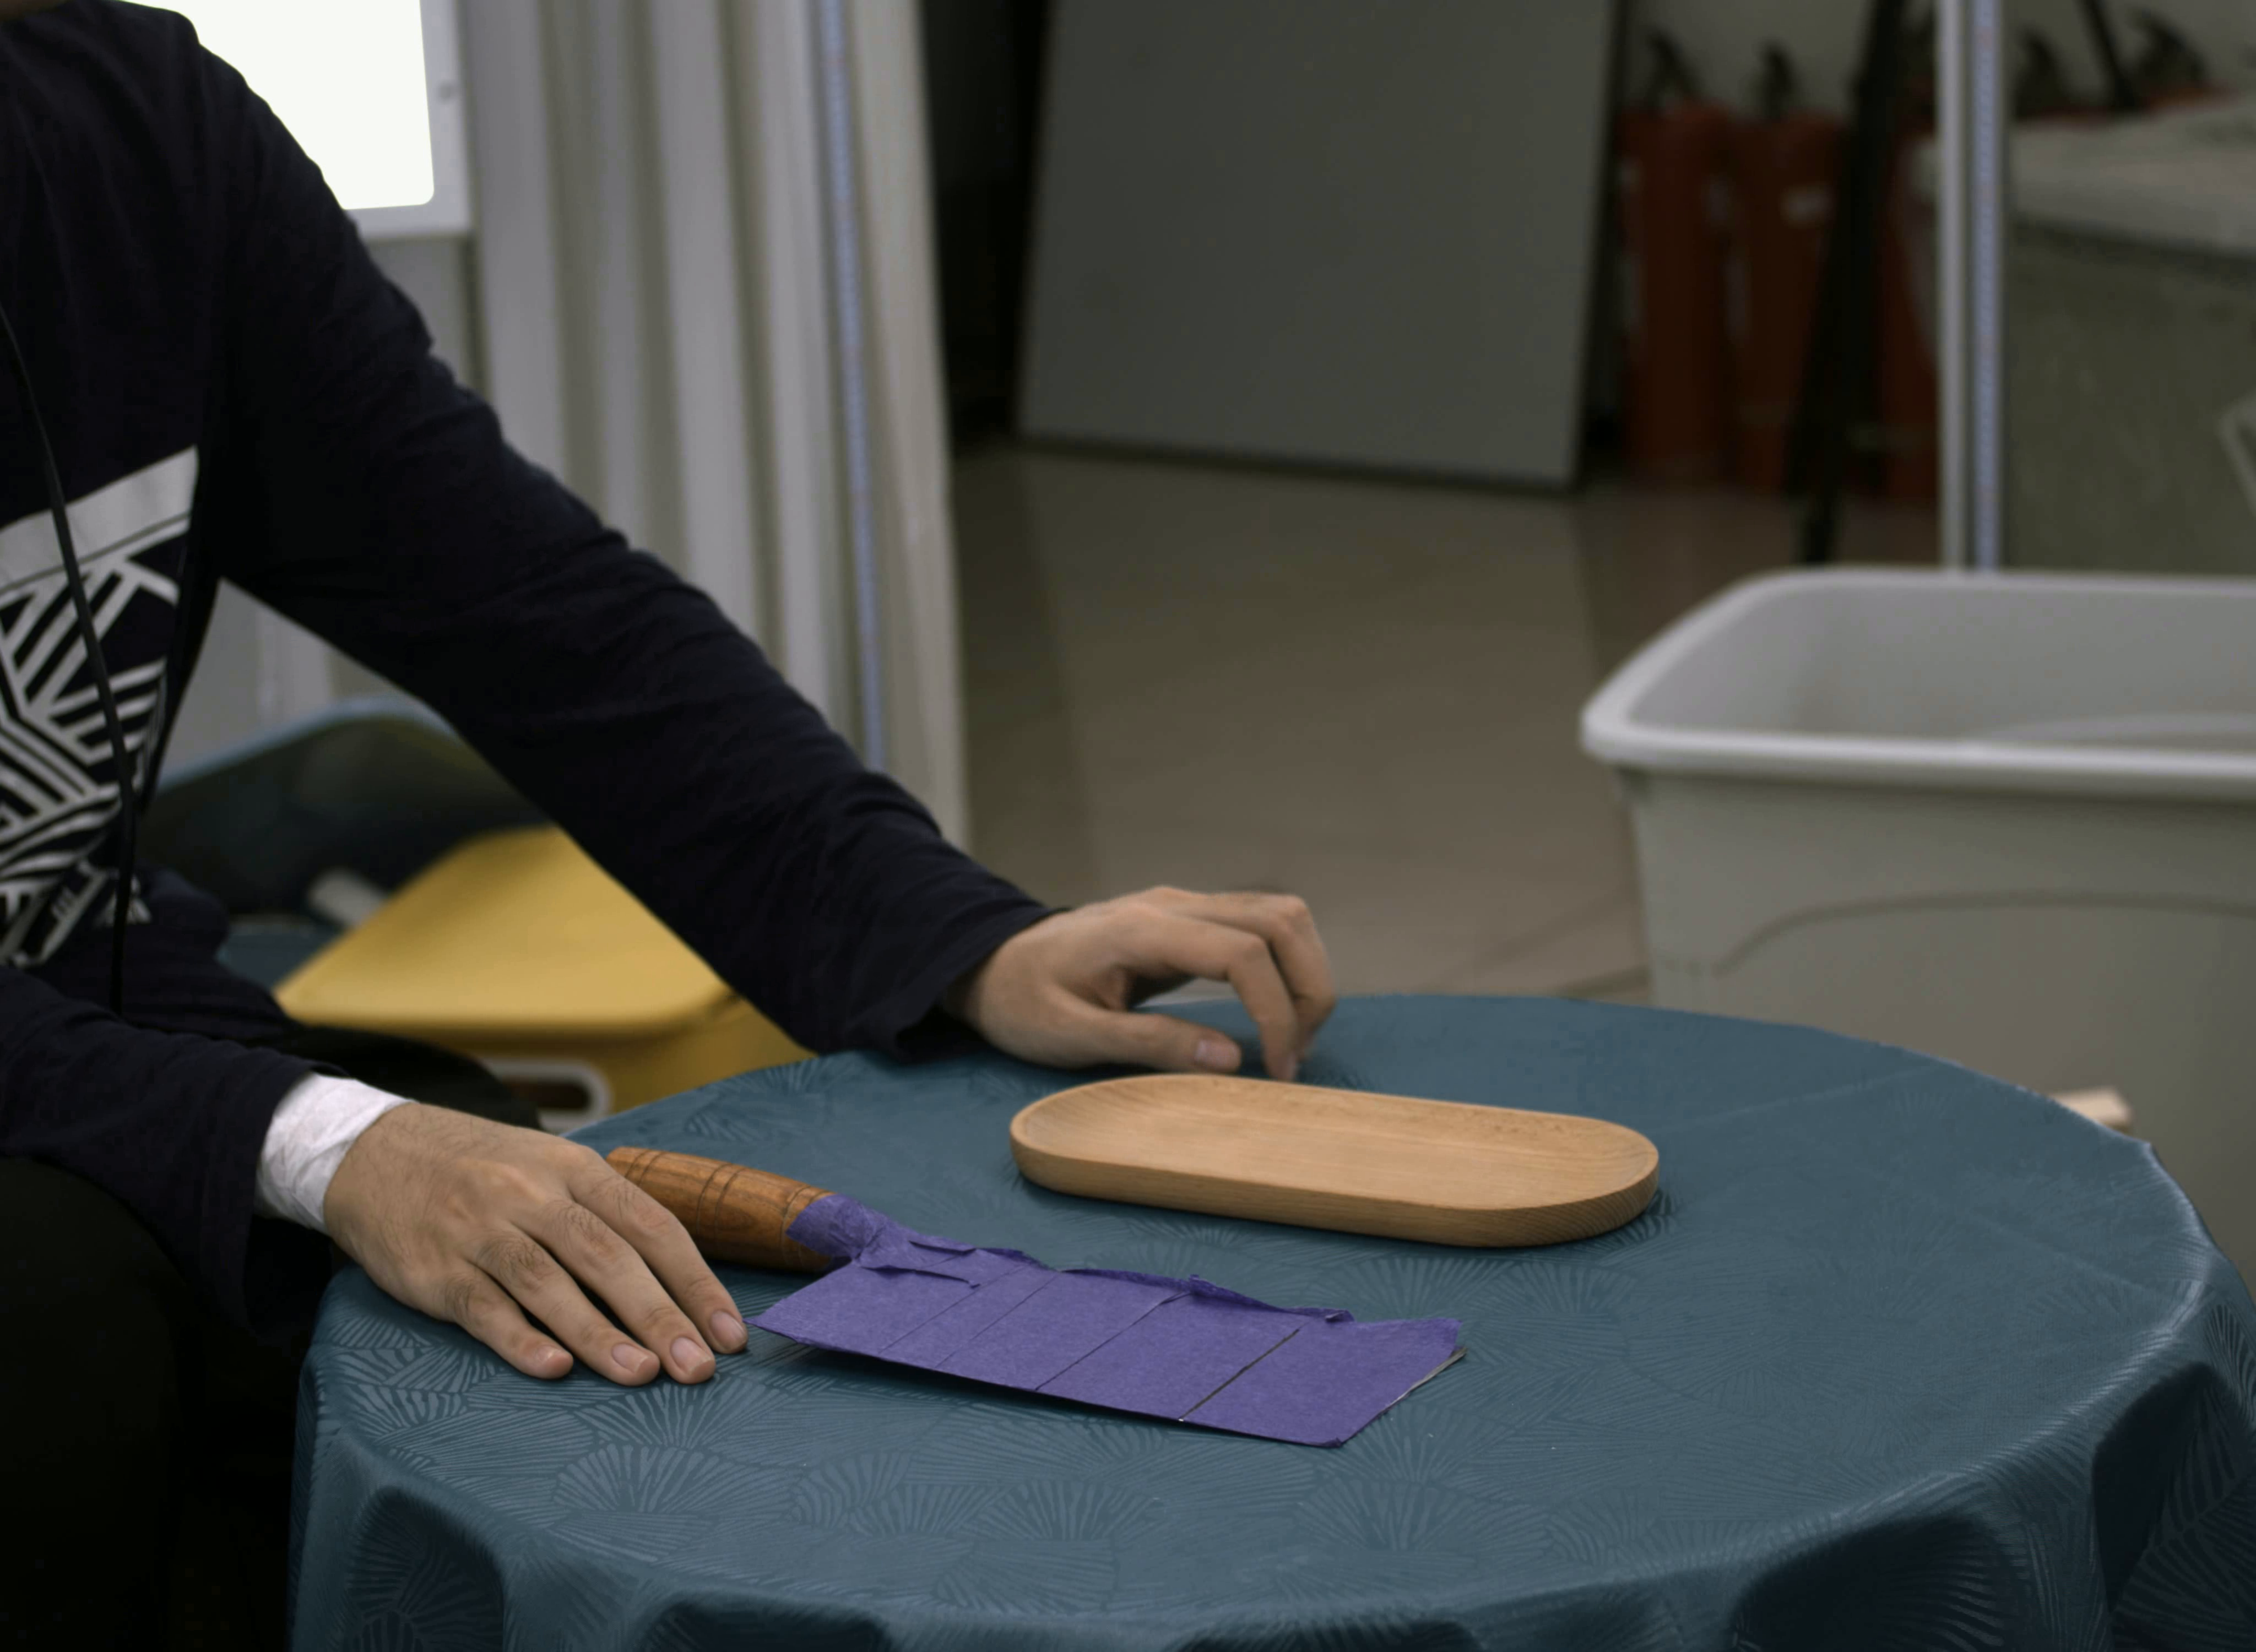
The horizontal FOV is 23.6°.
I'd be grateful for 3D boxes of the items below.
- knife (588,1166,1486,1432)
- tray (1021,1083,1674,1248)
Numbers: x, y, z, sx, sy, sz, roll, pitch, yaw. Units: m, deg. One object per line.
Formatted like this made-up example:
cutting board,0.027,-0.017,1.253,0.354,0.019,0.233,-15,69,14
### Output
knife,-0.049,0.143,1.643,0.317,0.032,0.102,5,16,32
tray,0.070,0.111,1.764,0.232,0.020,0.100,6,17,31
